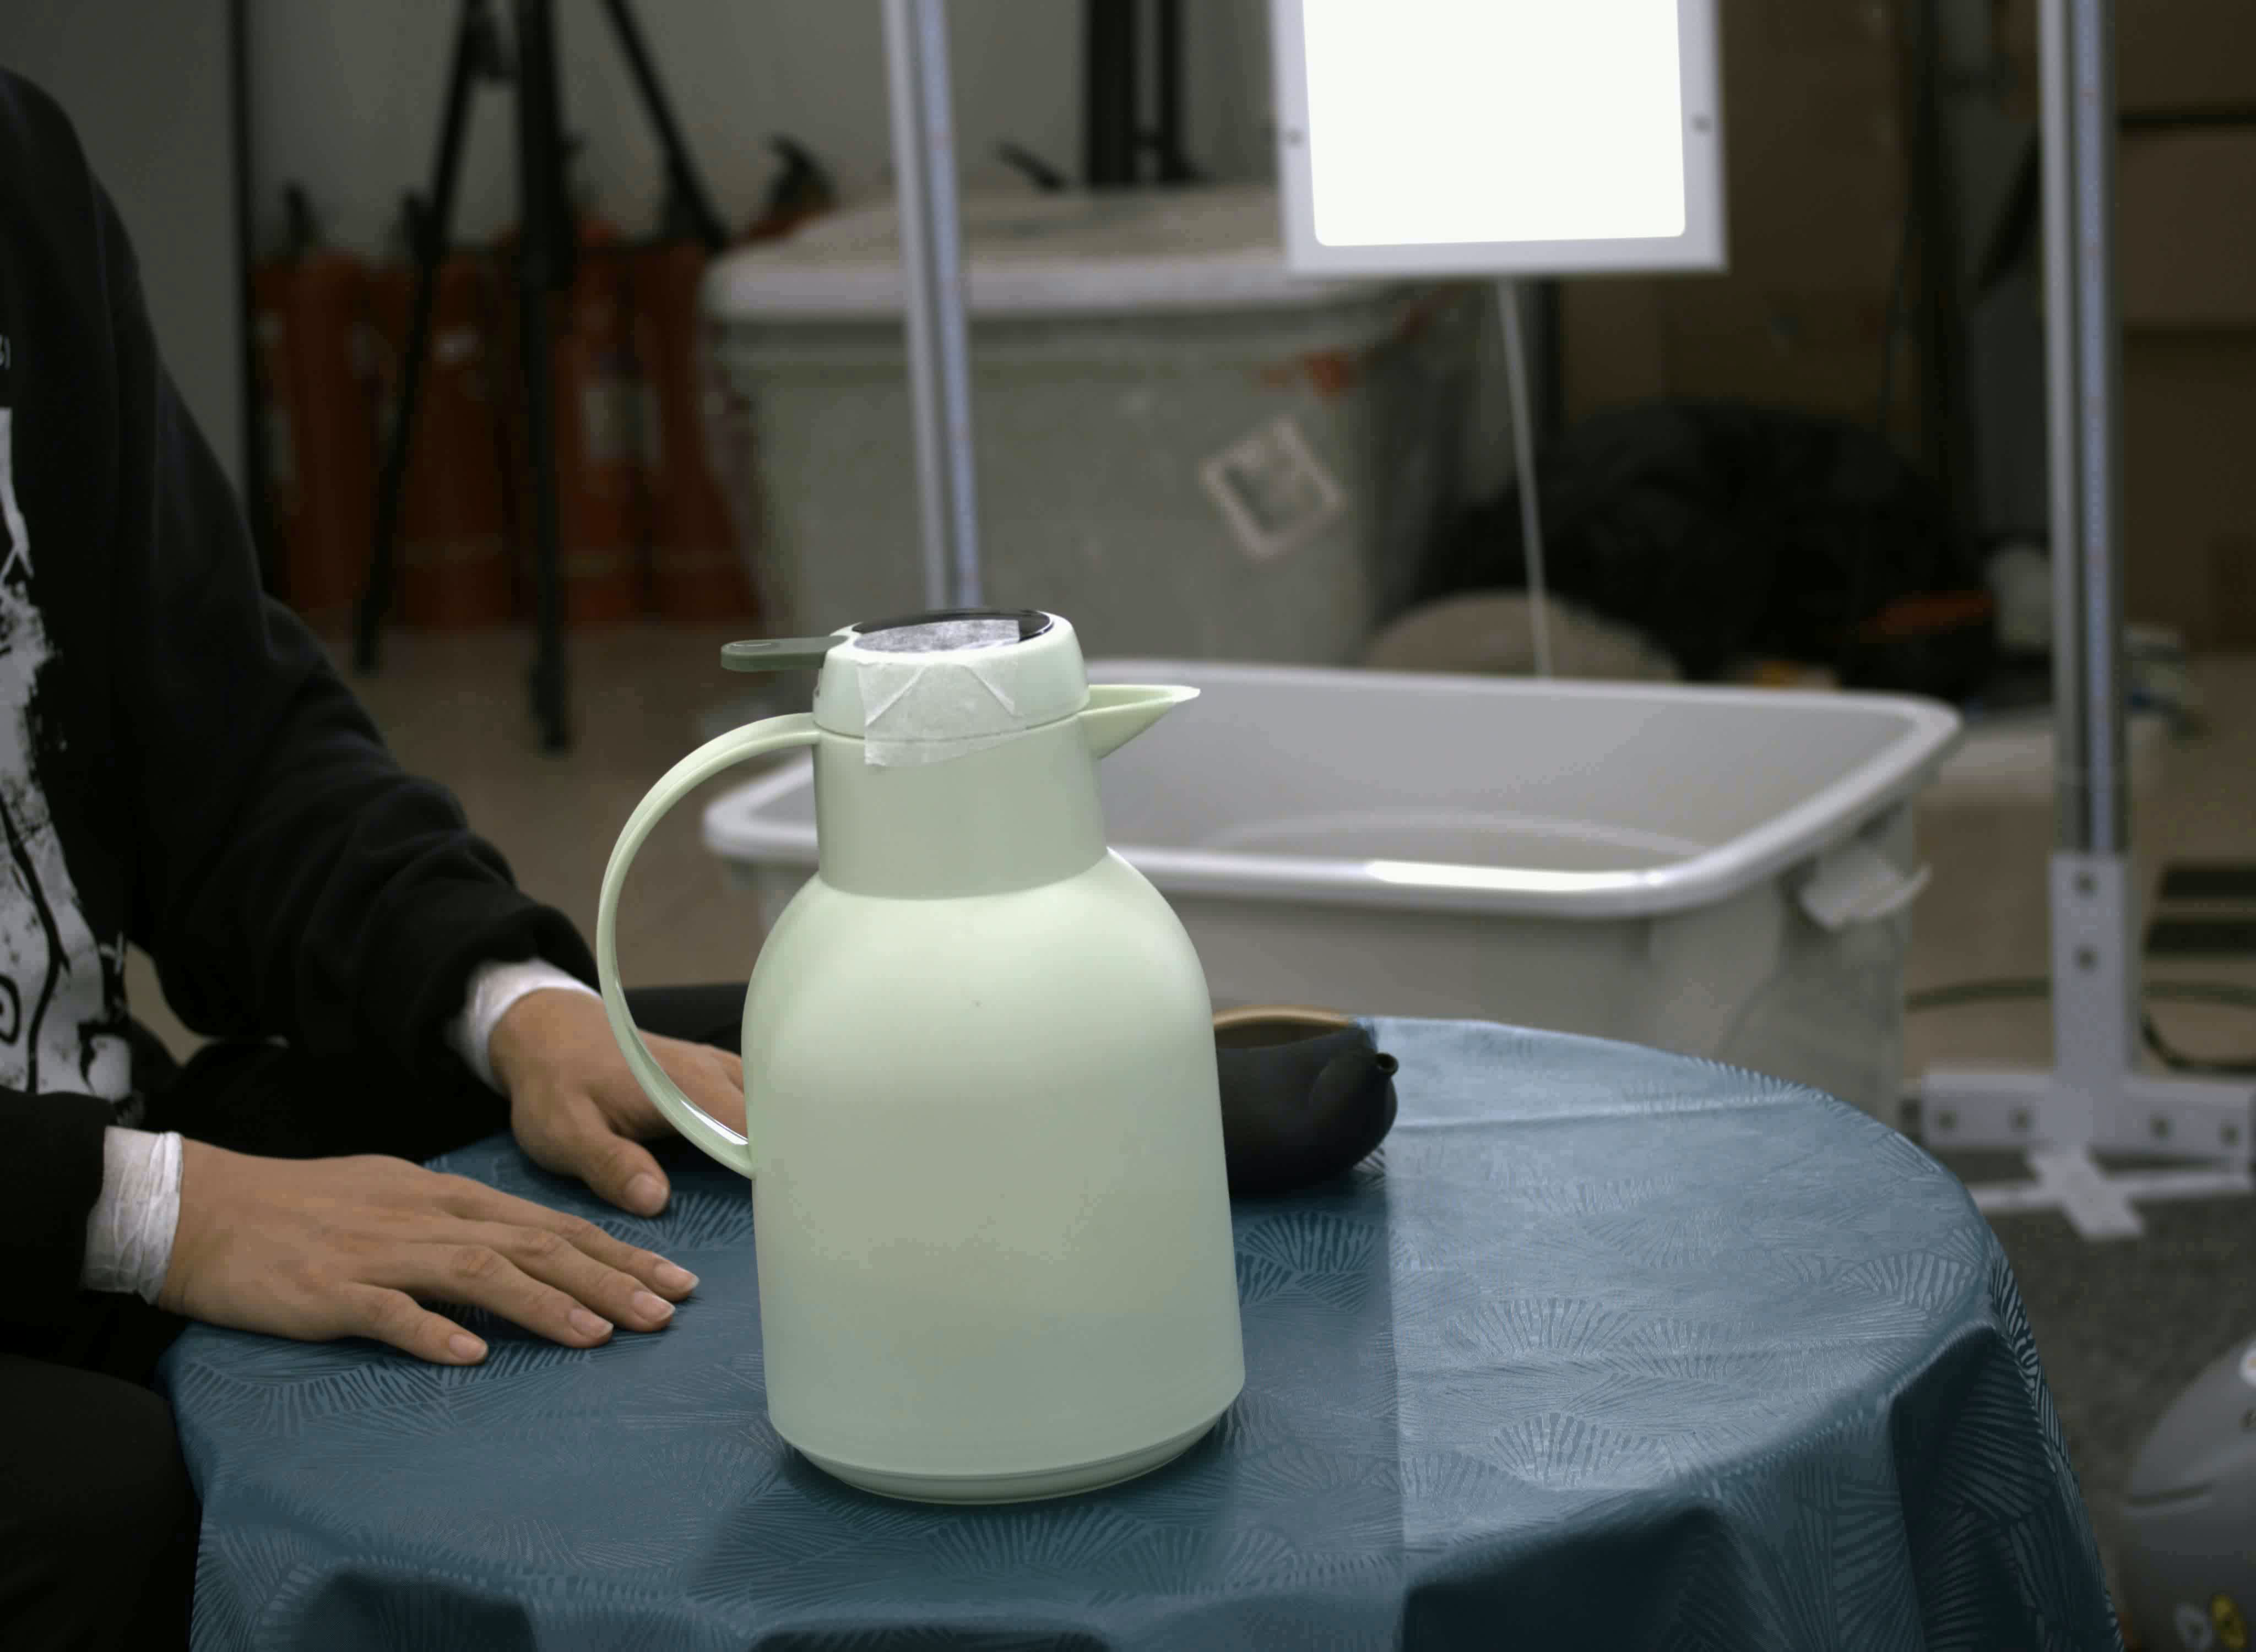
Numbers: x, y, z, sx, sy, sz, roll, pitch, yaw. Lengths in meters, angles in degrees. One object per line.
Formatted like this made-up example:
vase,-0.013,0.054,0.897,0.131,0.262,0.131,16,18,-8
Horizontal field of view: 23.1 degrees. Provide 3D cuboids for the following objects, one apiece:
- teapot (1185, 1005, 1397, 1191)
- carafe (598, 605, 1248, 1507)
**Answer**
teapot,0.047,0.094,1.902,0.088,0.053,0.136,-14,17,-38
carafe,-0.059,0.066,1.645,0.186,0.257,0.144,-8,15,-1
